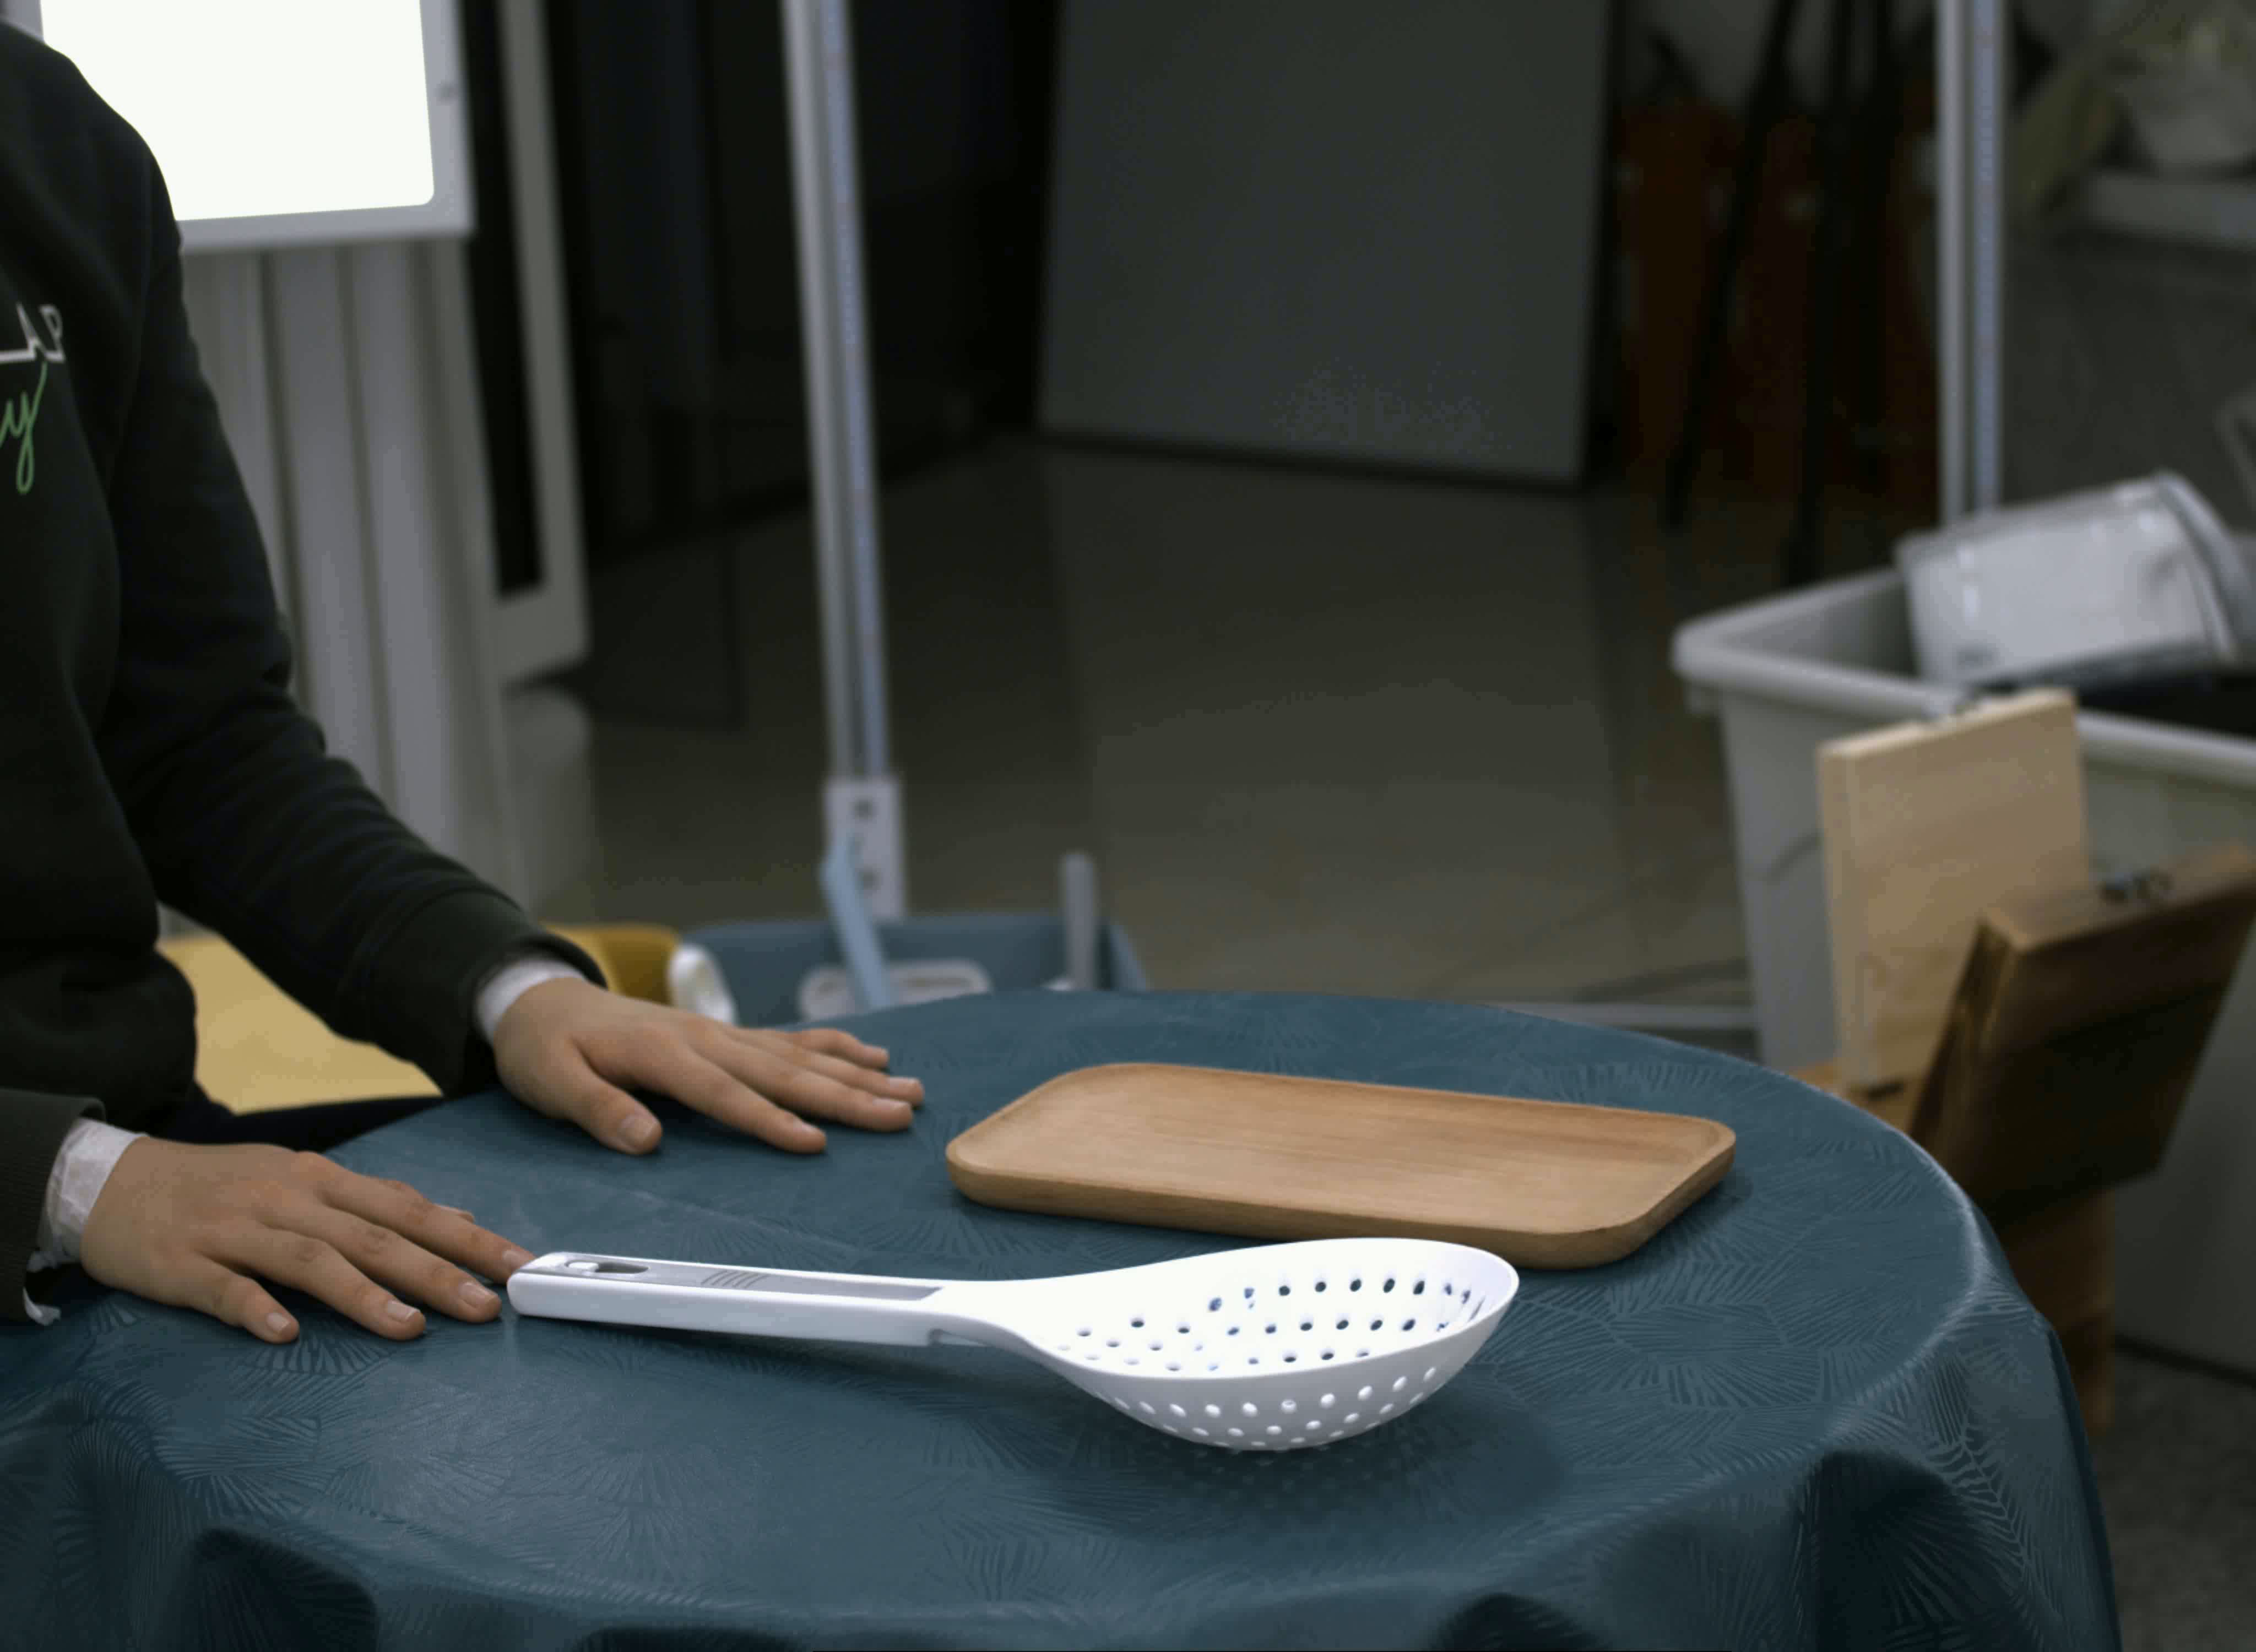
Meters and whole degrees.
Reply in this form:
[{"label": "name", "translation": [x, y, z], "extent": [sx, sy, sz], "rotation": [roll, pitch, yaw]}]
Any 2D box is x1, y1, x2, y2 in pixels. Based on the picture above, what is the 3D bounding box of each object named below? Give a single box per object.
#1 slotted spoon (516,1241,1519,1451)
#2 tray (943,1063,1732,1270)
[{"label": "slotted spoon", "translation": [-0.043, 0.144, 1.595], "extent": [0.352, 0.046, 0.133], "rotation": [5, 14, 35]}, {"label": "tray", "translation": [0.068, 0.110, 1.761], "extent": [0.251, 0.023, 0.128], "rotation": [3, 14, 30]}]
